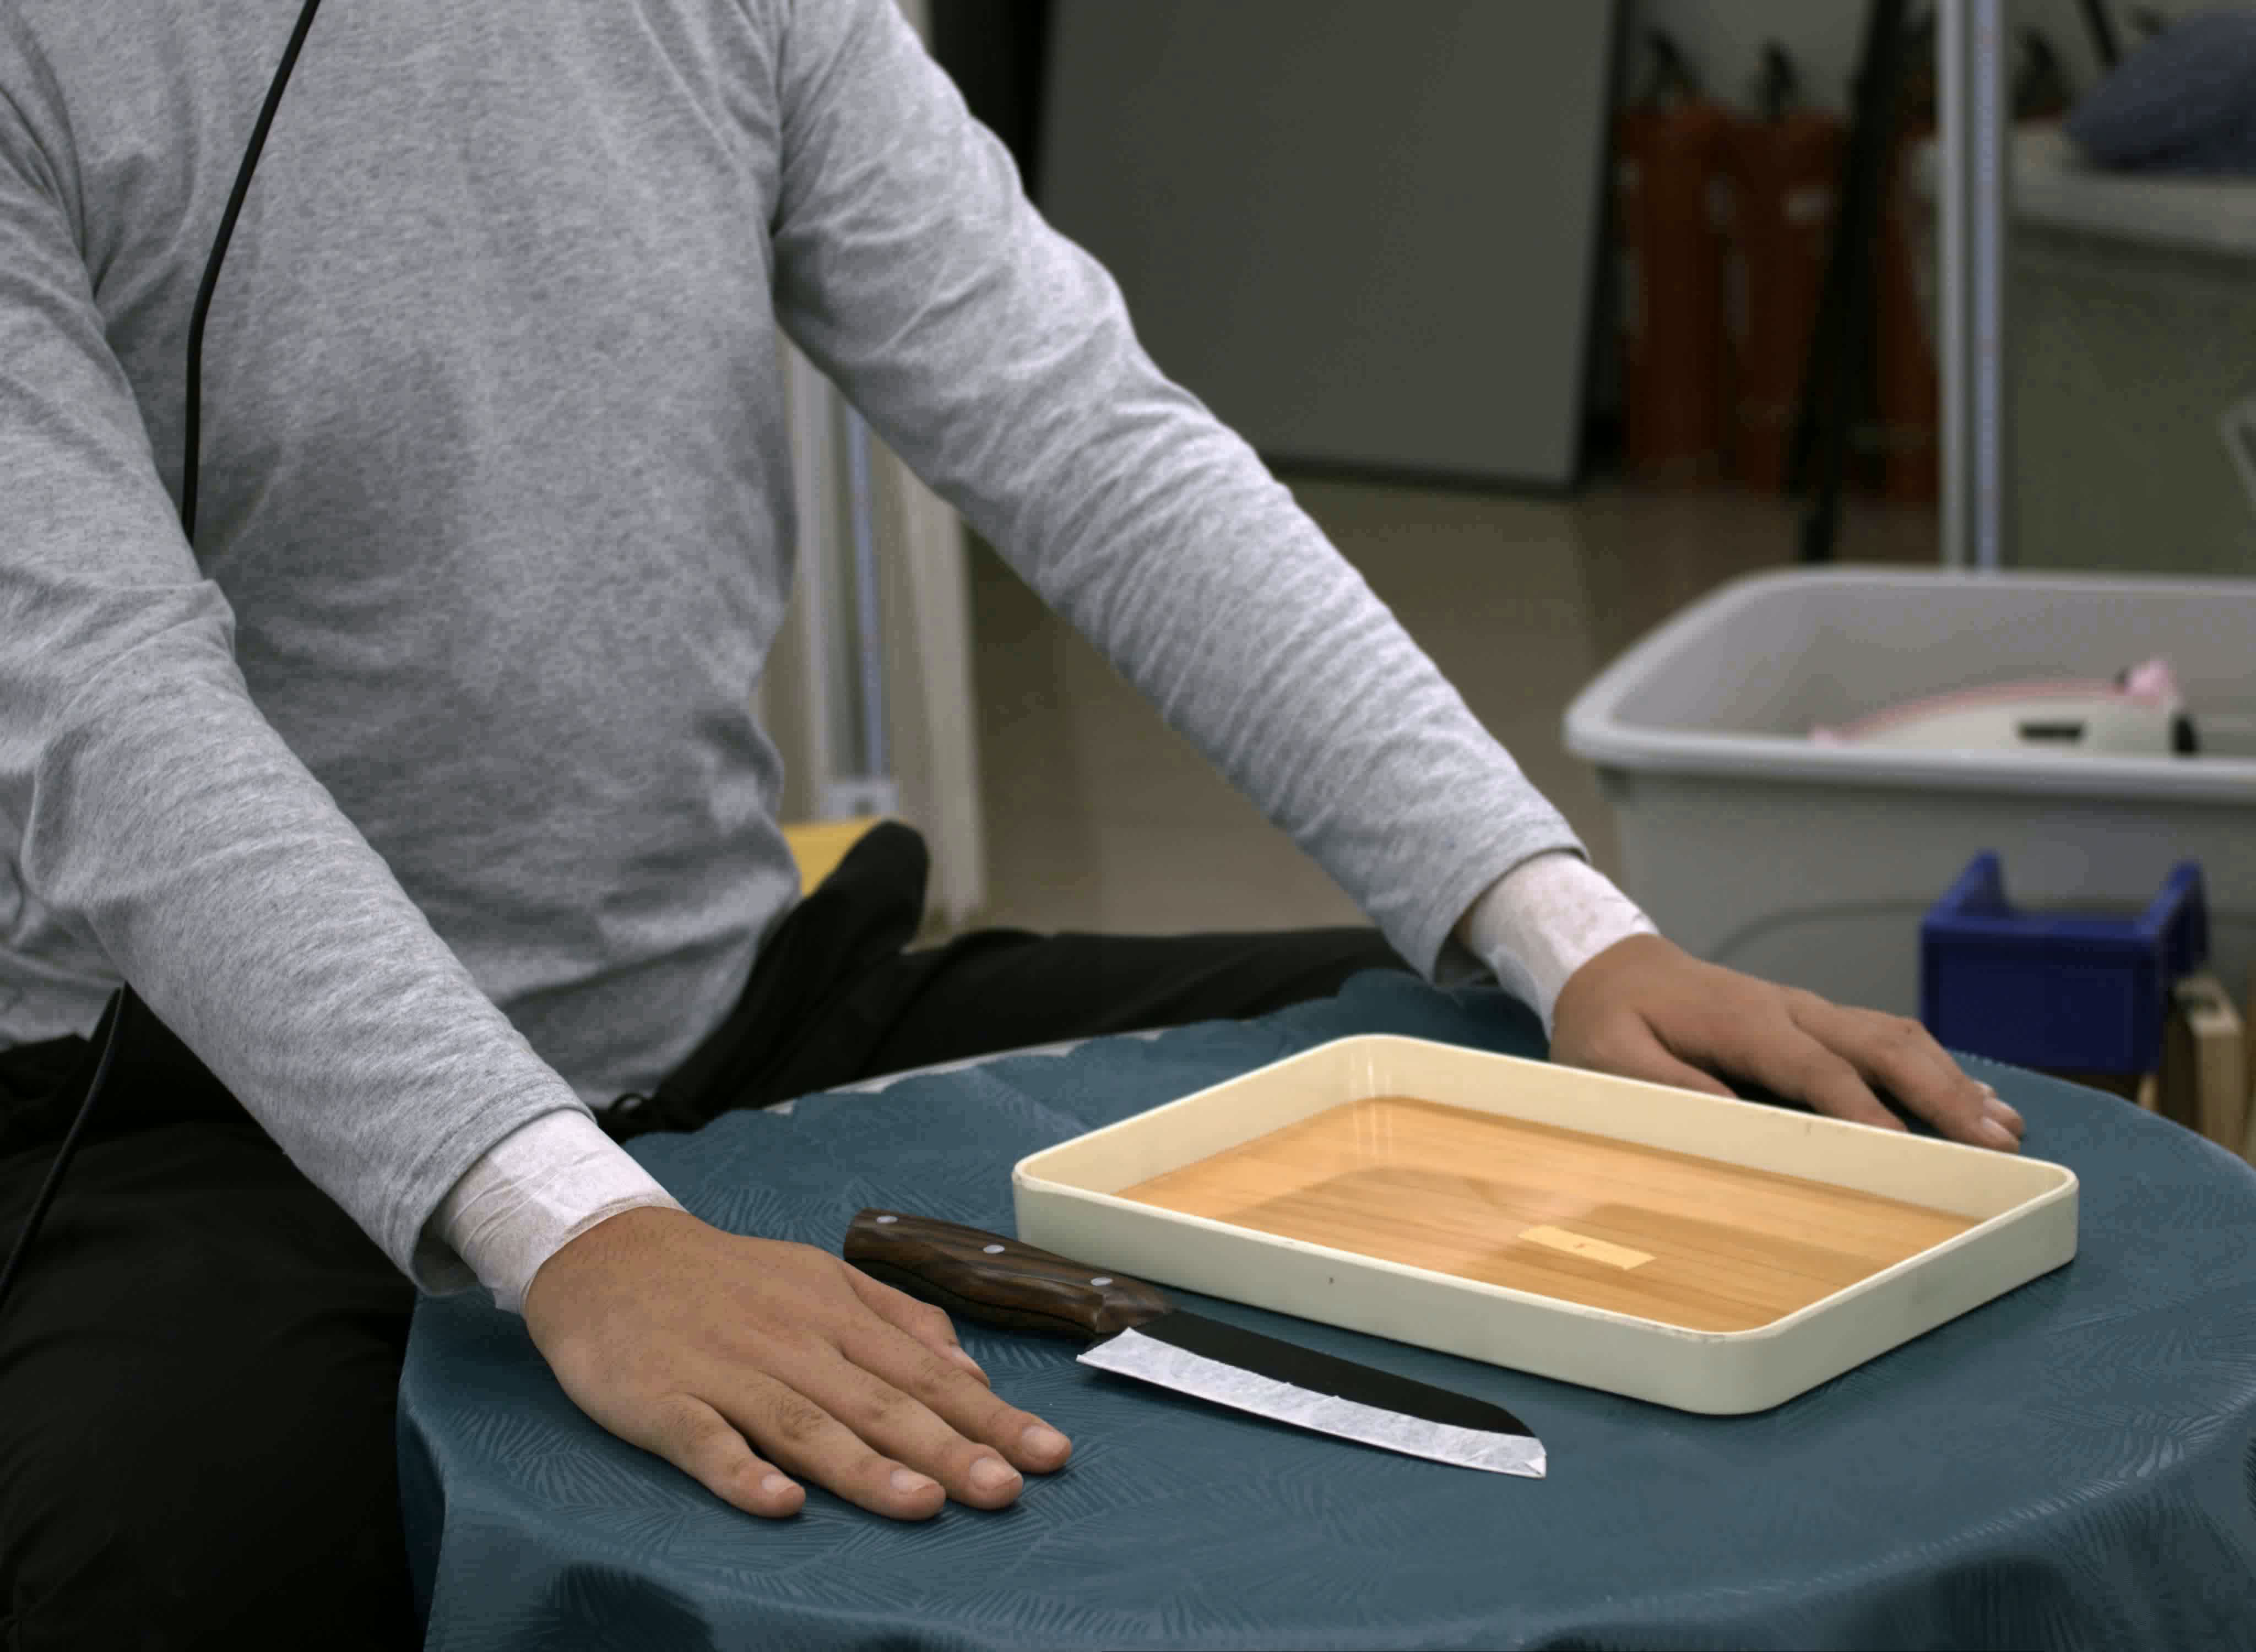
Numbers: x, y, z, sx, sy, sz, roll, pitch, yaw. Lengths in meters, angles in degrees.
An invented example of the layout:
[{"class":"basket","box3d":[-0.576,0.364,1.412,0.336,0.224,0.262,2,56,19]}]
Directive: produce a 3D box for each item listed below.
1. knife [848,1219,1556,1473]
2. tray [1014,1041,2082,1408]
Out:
[{"class":"knife","box3d":[0.017,0.156,1.598,0.049,0.020,0.292,-23,24,-40]},{"class":"tray","box3d":[0.128,0.121,1.684,0.303,0.028,0.188,9,18,43]}]
